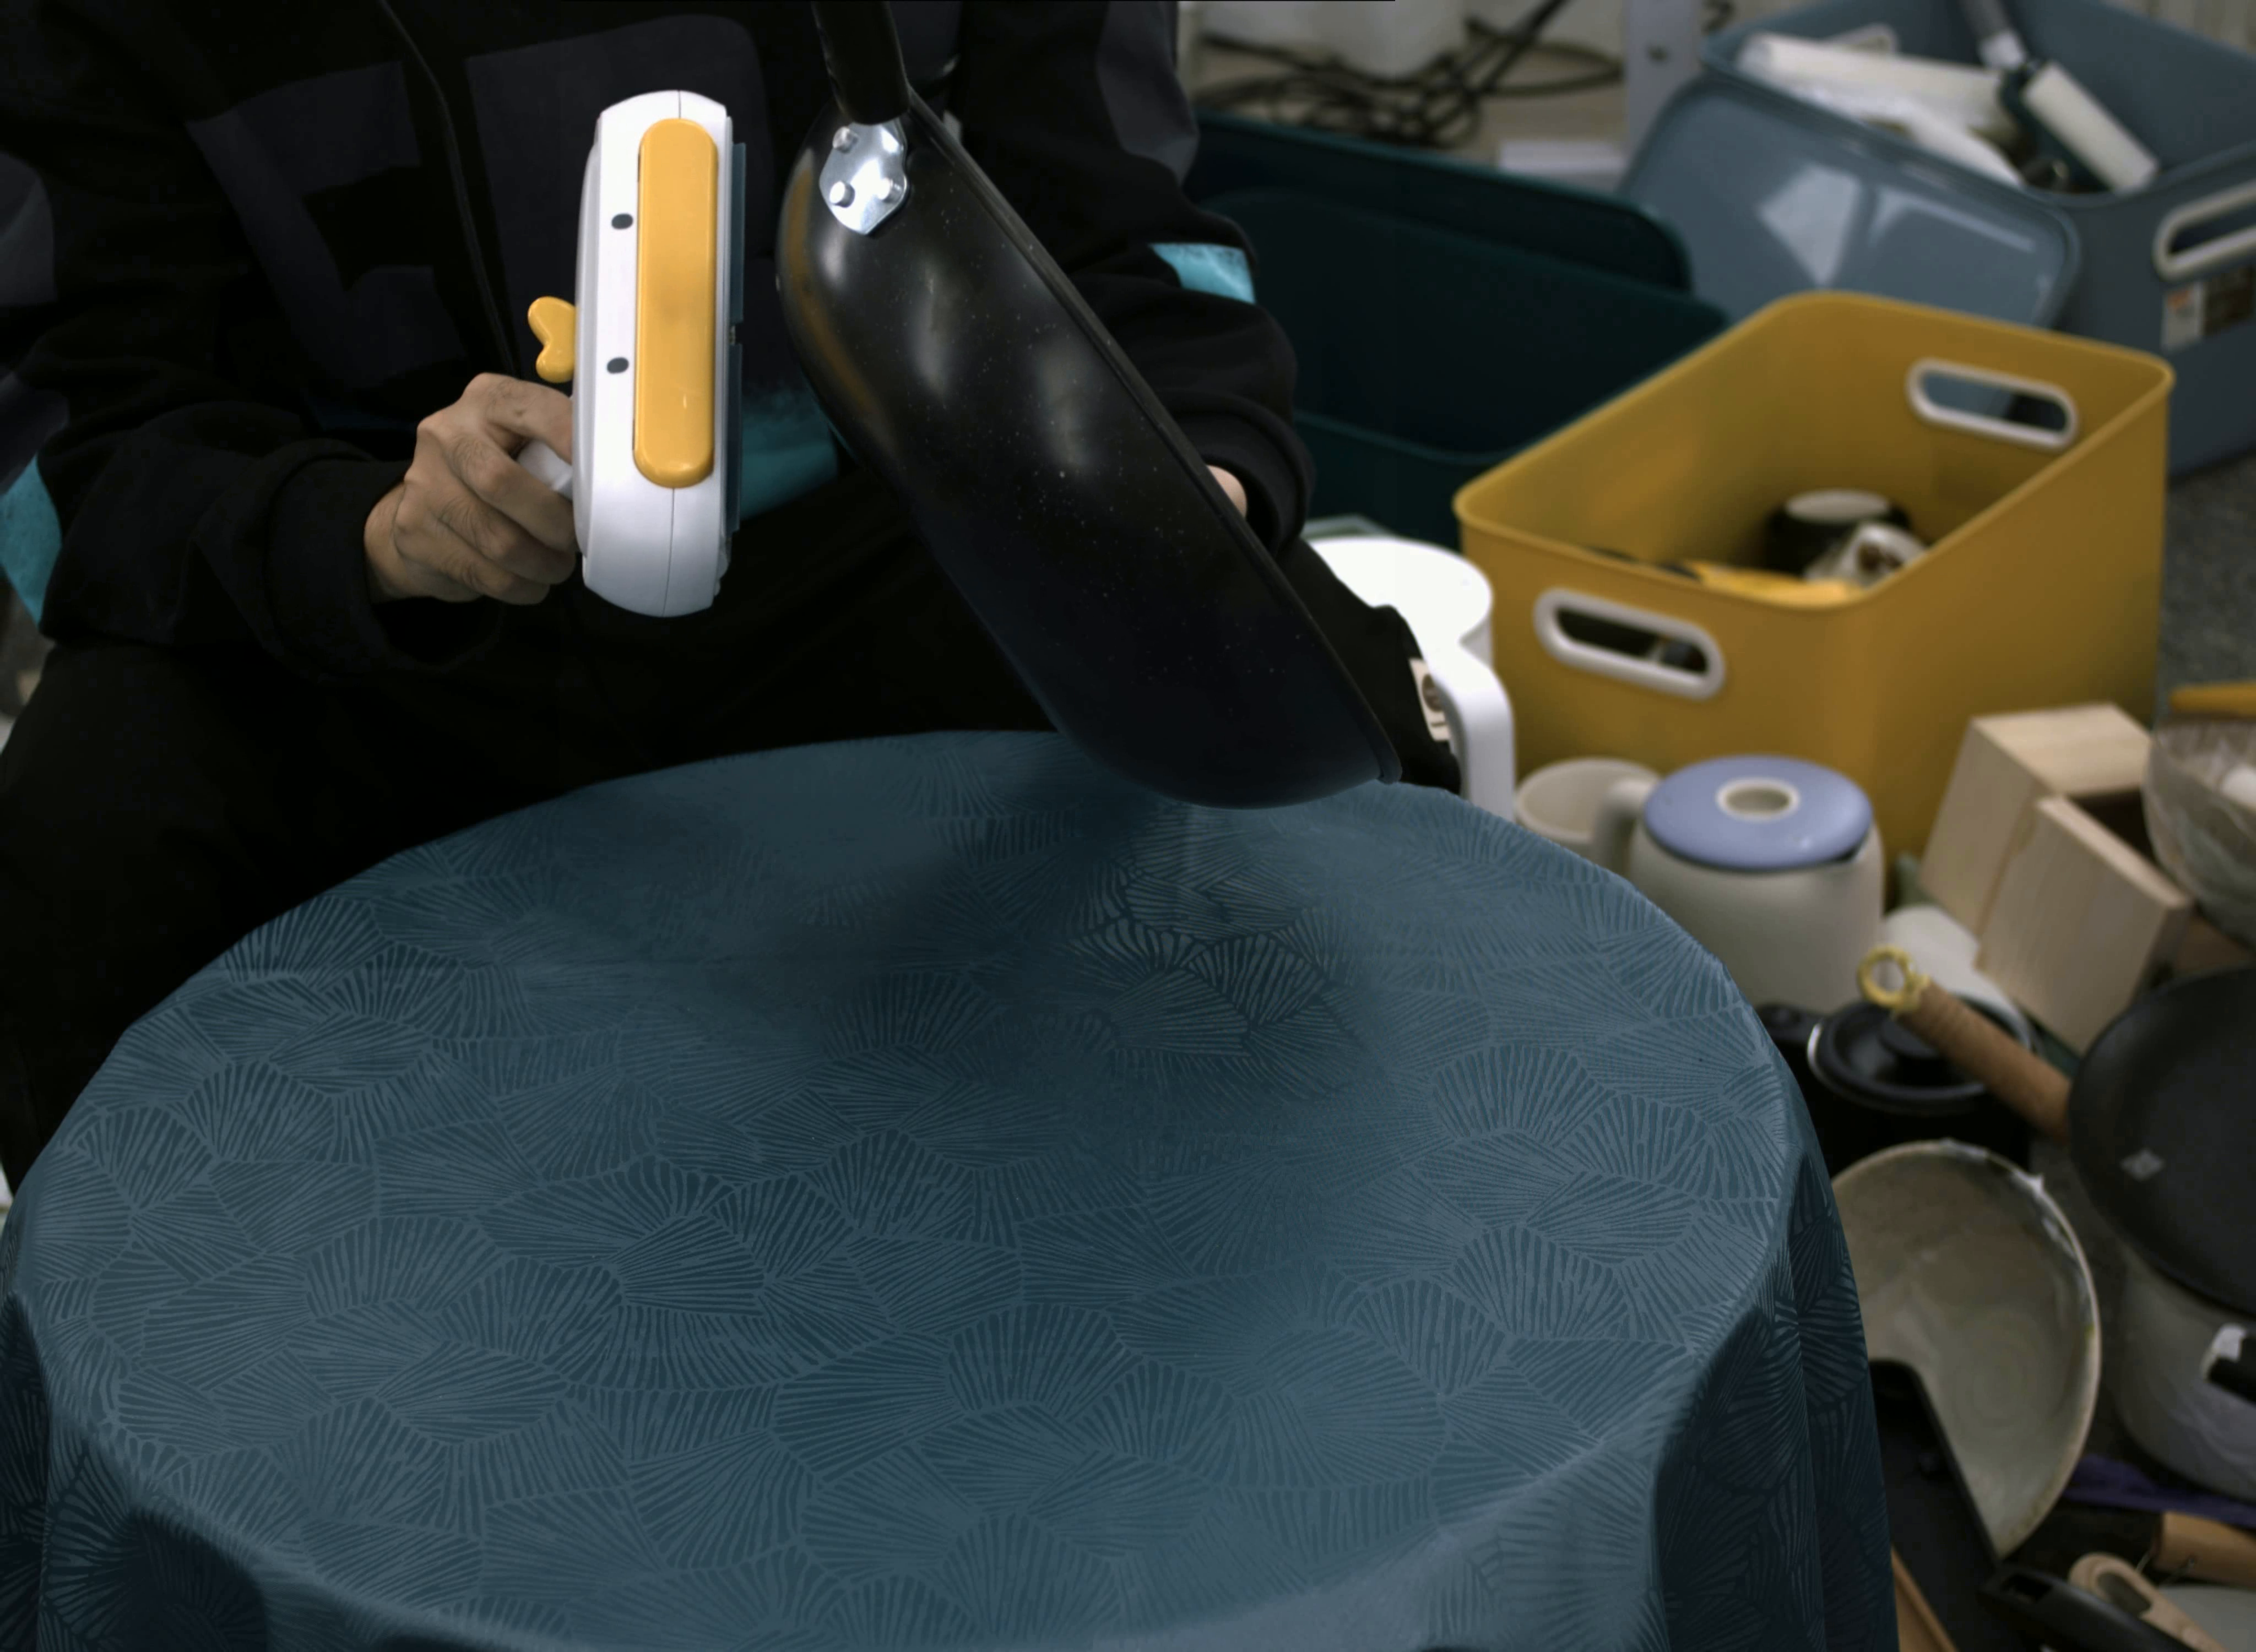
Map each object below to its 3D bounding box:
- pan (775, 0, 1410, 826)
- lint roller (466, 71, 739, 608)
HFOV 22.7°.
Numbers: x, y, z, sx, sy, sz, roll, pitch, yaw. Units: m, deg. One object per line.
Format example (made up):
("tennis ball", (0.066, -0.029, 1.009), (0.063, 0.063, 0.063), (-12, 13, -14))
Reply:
("pan", (-0.058, -0.170, 1.864), (0.112, 0.472, 0.313), (-37, 40, -3))
("lint roller", (-0.185, -0.140, 1.971), (0.074, 0.189, 0.196), (3, 58, -18))
